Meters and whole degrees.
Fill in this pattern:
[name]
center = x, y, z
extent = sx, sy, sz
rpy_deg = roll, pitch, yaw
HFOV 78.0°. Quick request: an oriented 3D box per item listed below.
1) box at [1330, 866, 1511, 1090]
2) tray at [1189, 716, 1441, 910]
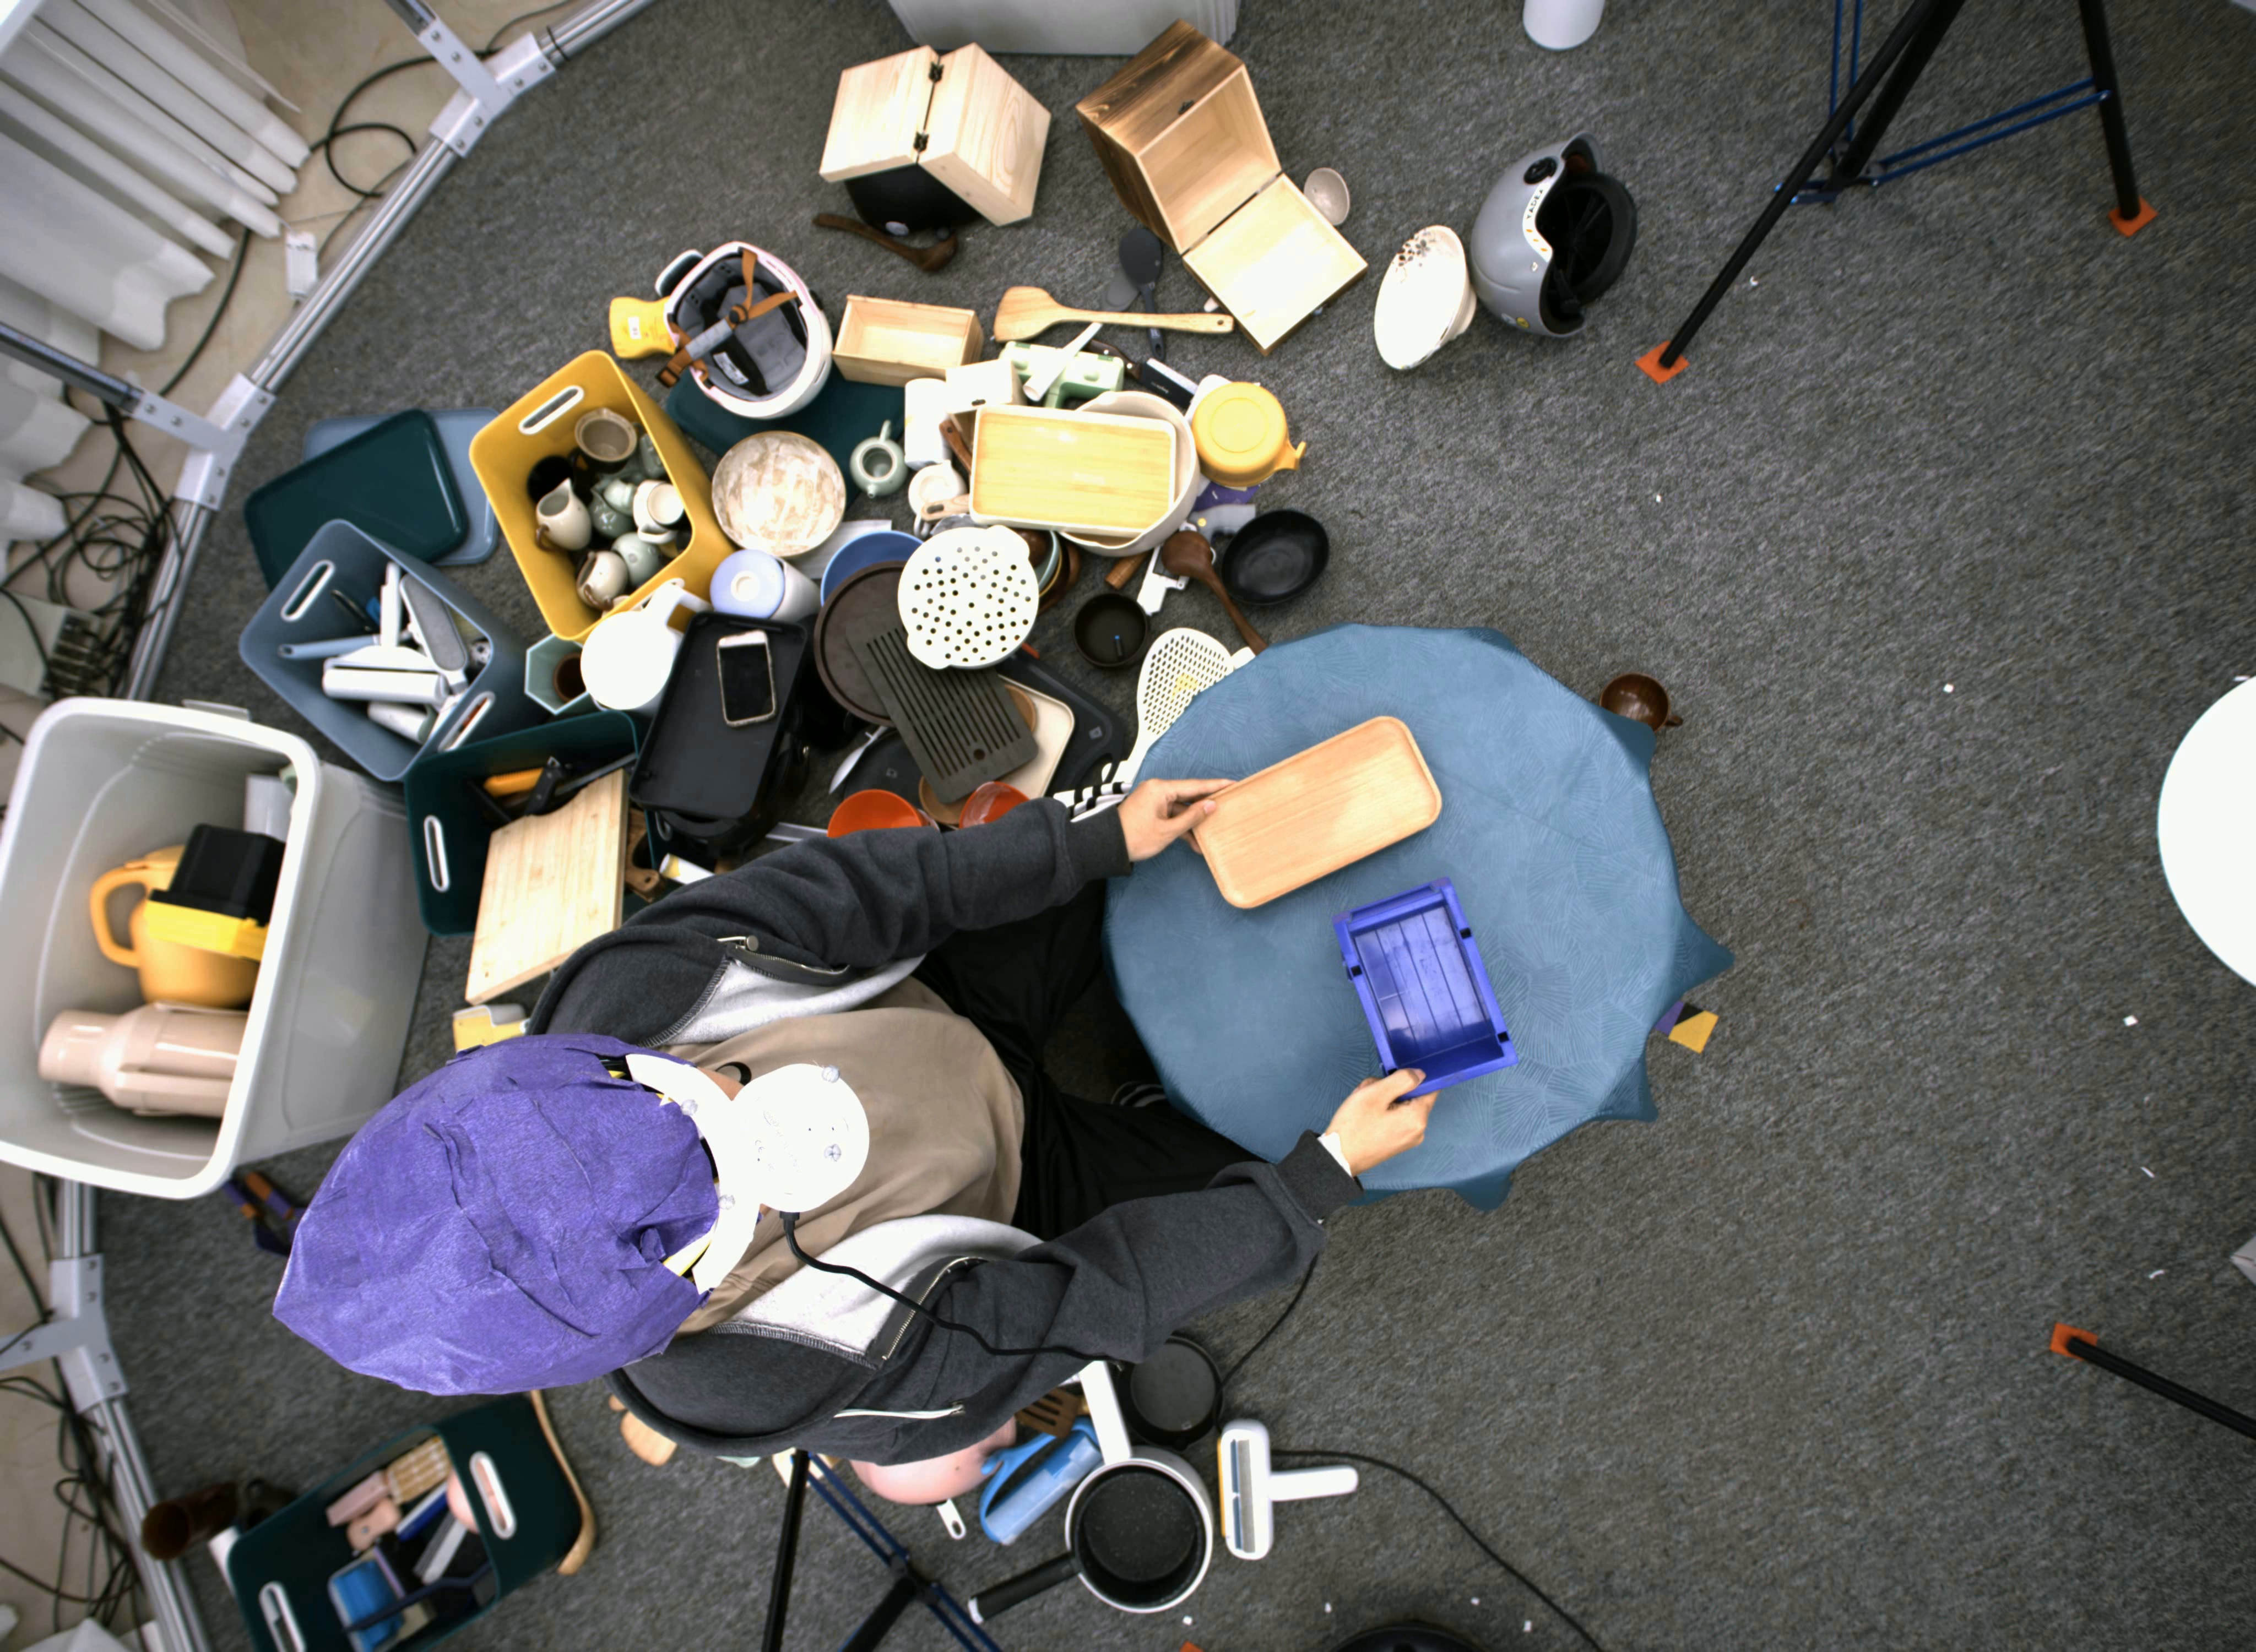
[box]
center = 0.276, 0.142, 1.323
extent = 0.125, 0.081, 0.180
rpy_deg = -18, 99, 10
[tray]
center = 0.195, -0.014, 1.443
extent = 0.252, 0.023, 0.130
rpy_deg = -25, 85, 6
